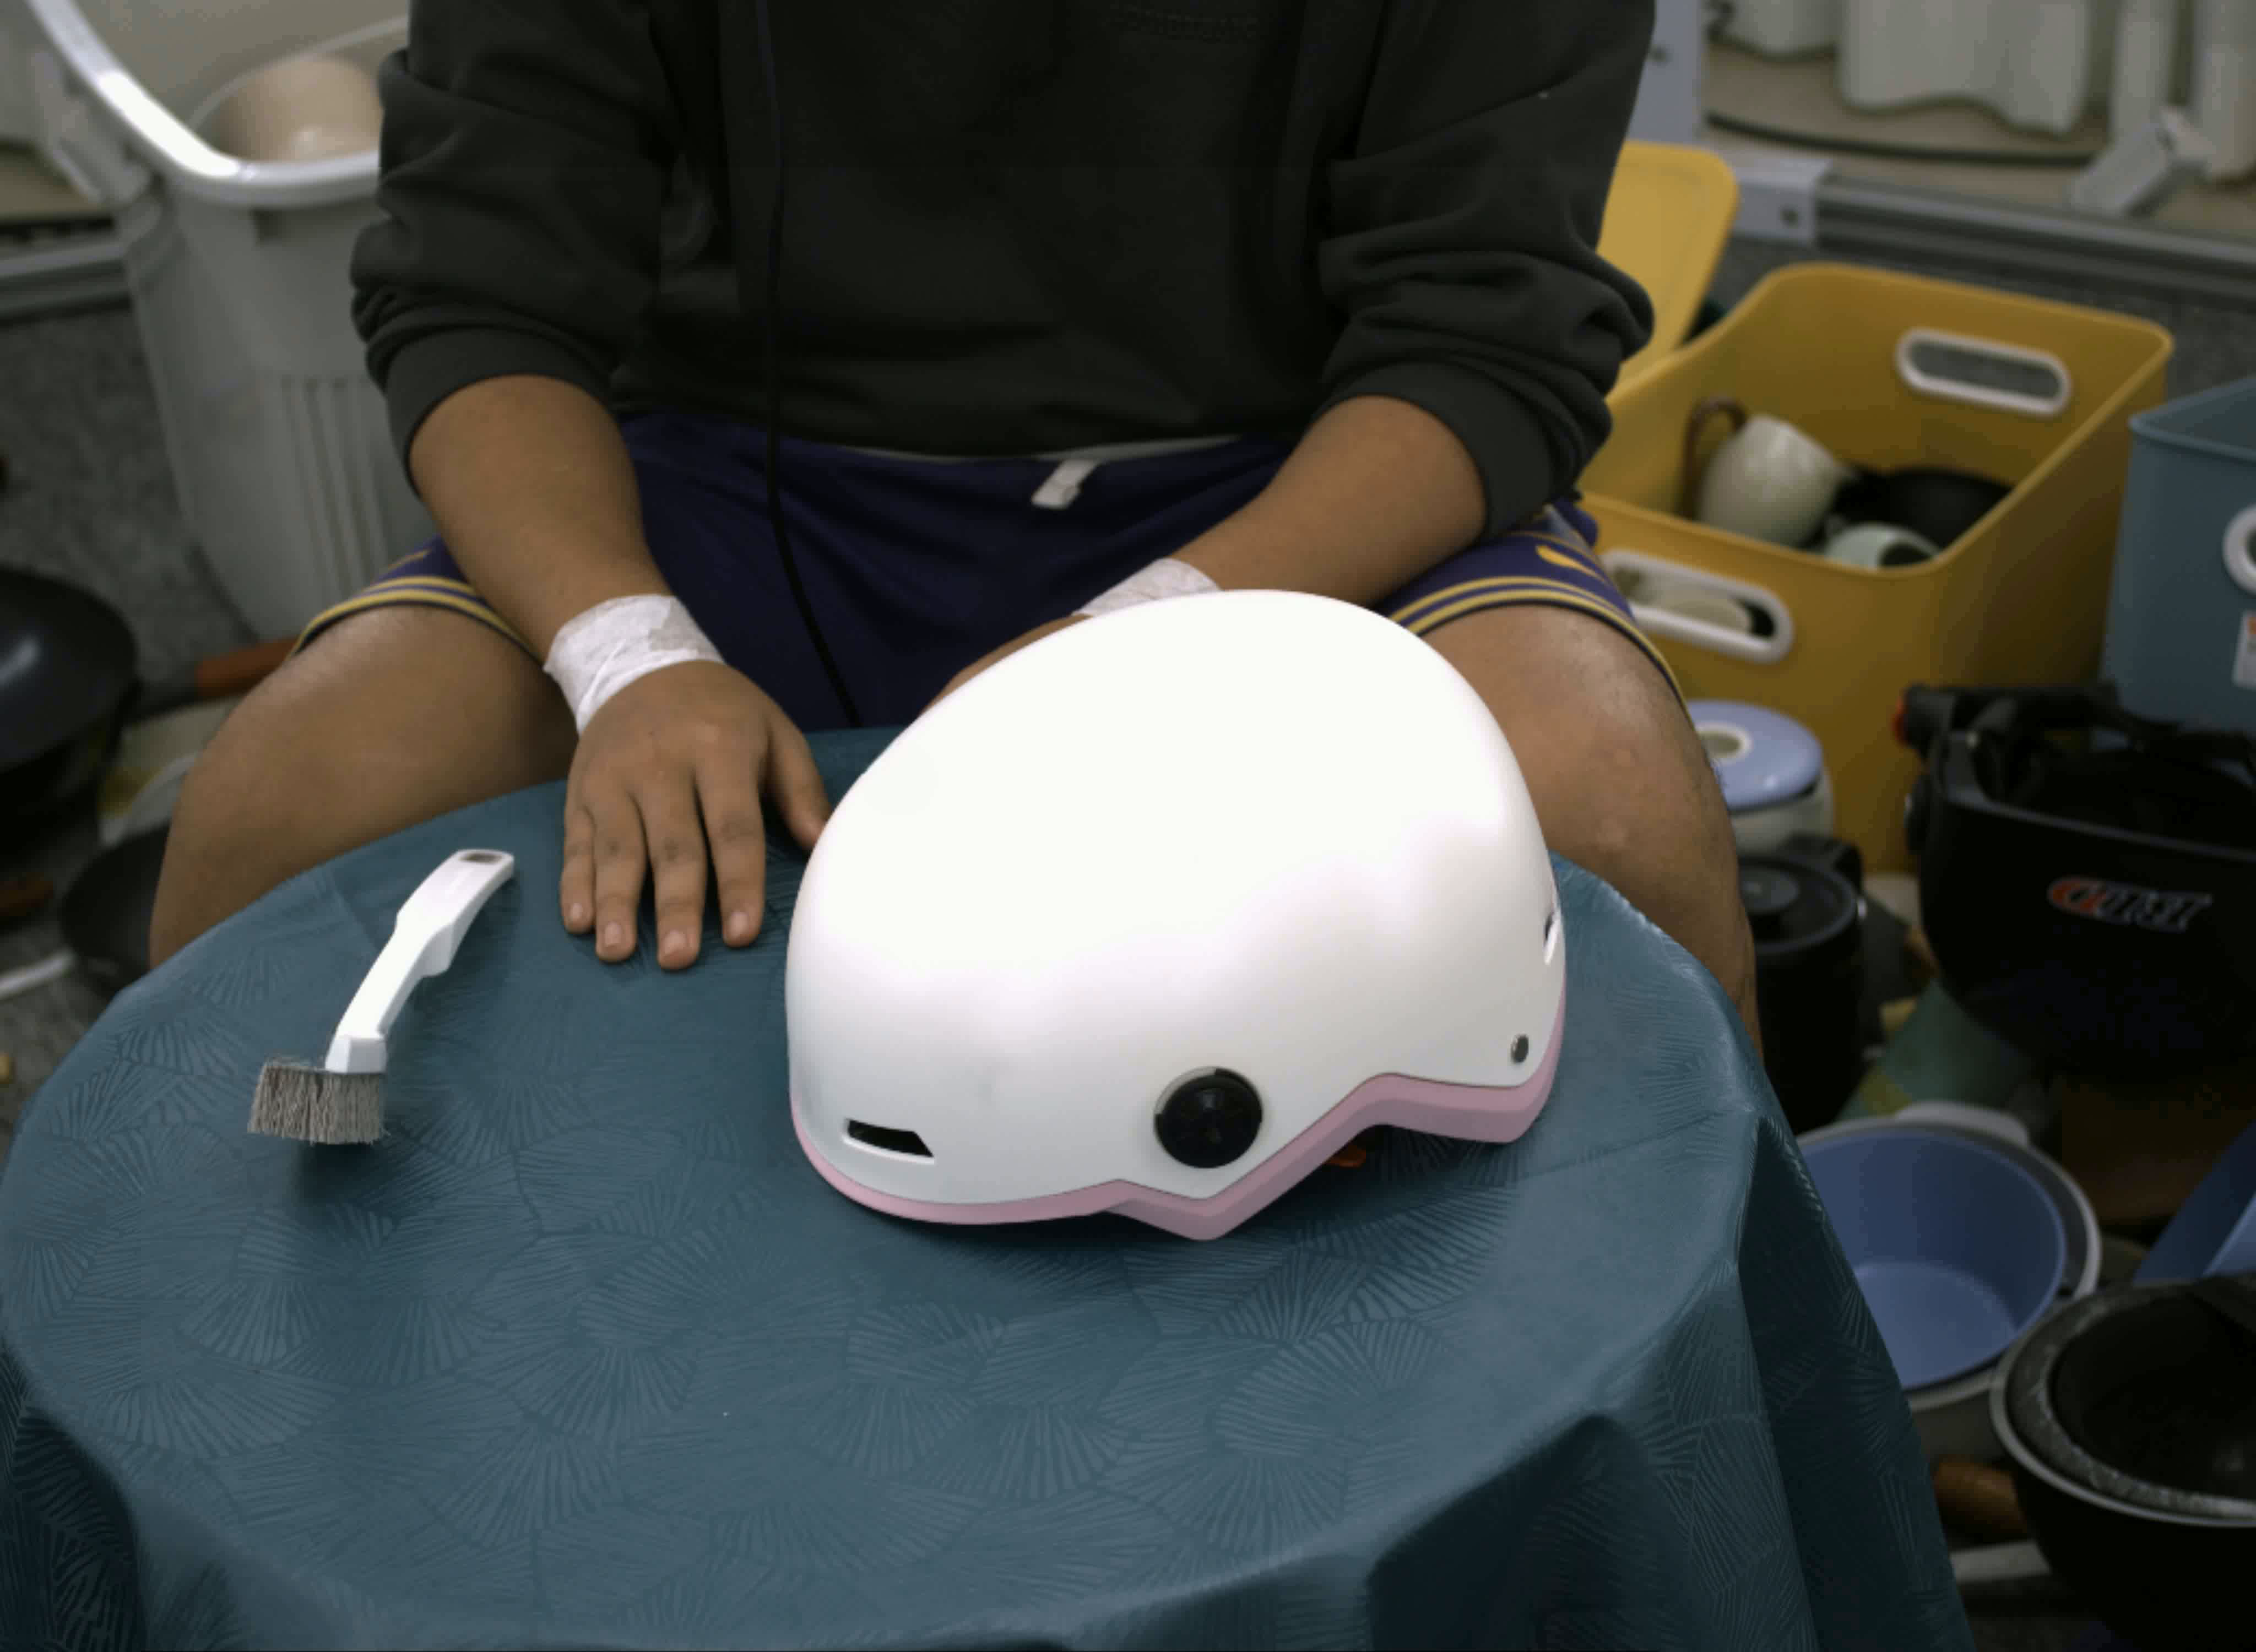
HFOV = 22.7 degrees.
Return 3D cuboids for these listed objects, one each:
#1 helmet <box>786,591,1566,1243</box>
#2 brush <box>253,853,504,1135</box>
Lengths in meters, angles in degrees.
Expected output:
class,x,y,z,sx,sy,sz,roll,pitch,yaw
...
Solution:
class,x,y,z,sx,sy,sz,roll,pitch,yaw
helmet,0.013,0.015,1.892,0.269,0.165,0.239,-11,28,-14
brush,-0.259,0.063,1.976,0.034,0.050,0.246,5,15,7
